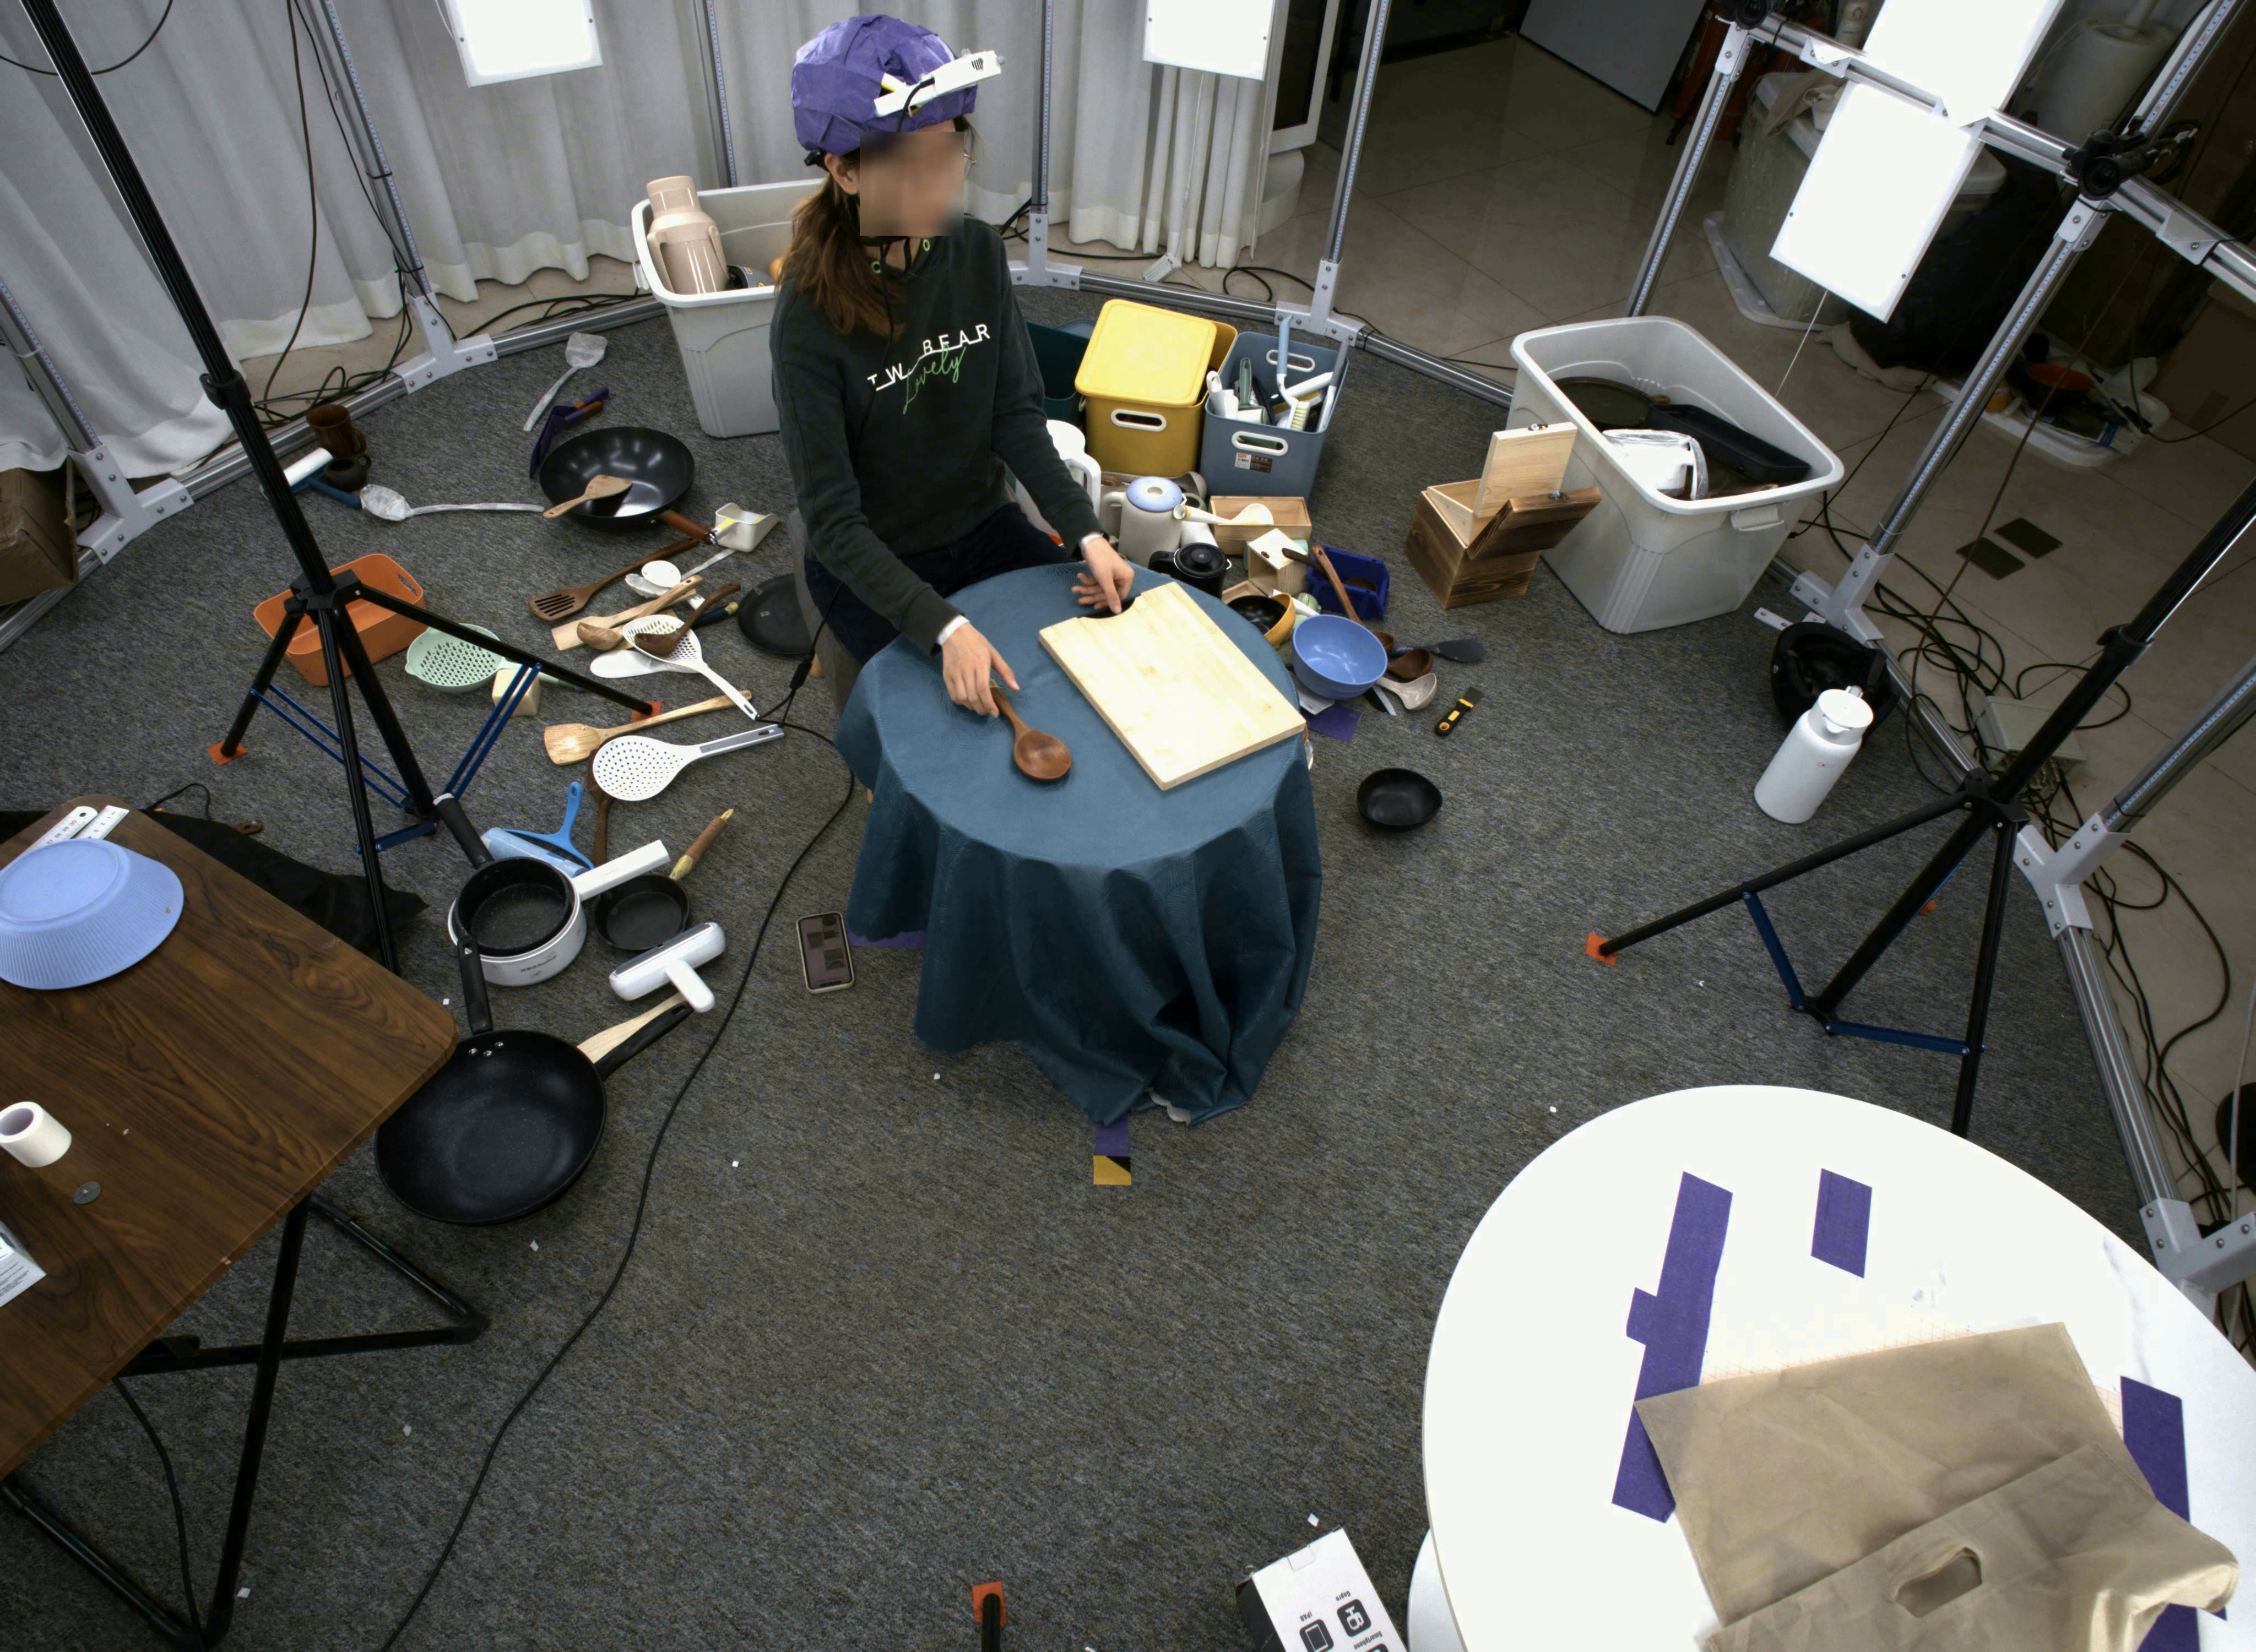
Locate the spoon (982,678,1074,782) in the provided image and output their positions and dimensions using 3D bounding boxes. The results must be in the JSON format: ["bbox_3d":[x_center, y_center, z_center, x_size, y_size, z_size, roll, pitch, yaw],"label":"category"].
[{"bbox_3d":[-0.146,-0.135,1.780,0.076,0.017,0.220,-23,54,-21],"label":"spoon"}]

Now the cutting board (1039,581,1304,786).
[{"bbox_3d":[0.057,-0.215,1.865,0.251,0.023,0.356,-23,54,-23],"label":"cutting board"}]
